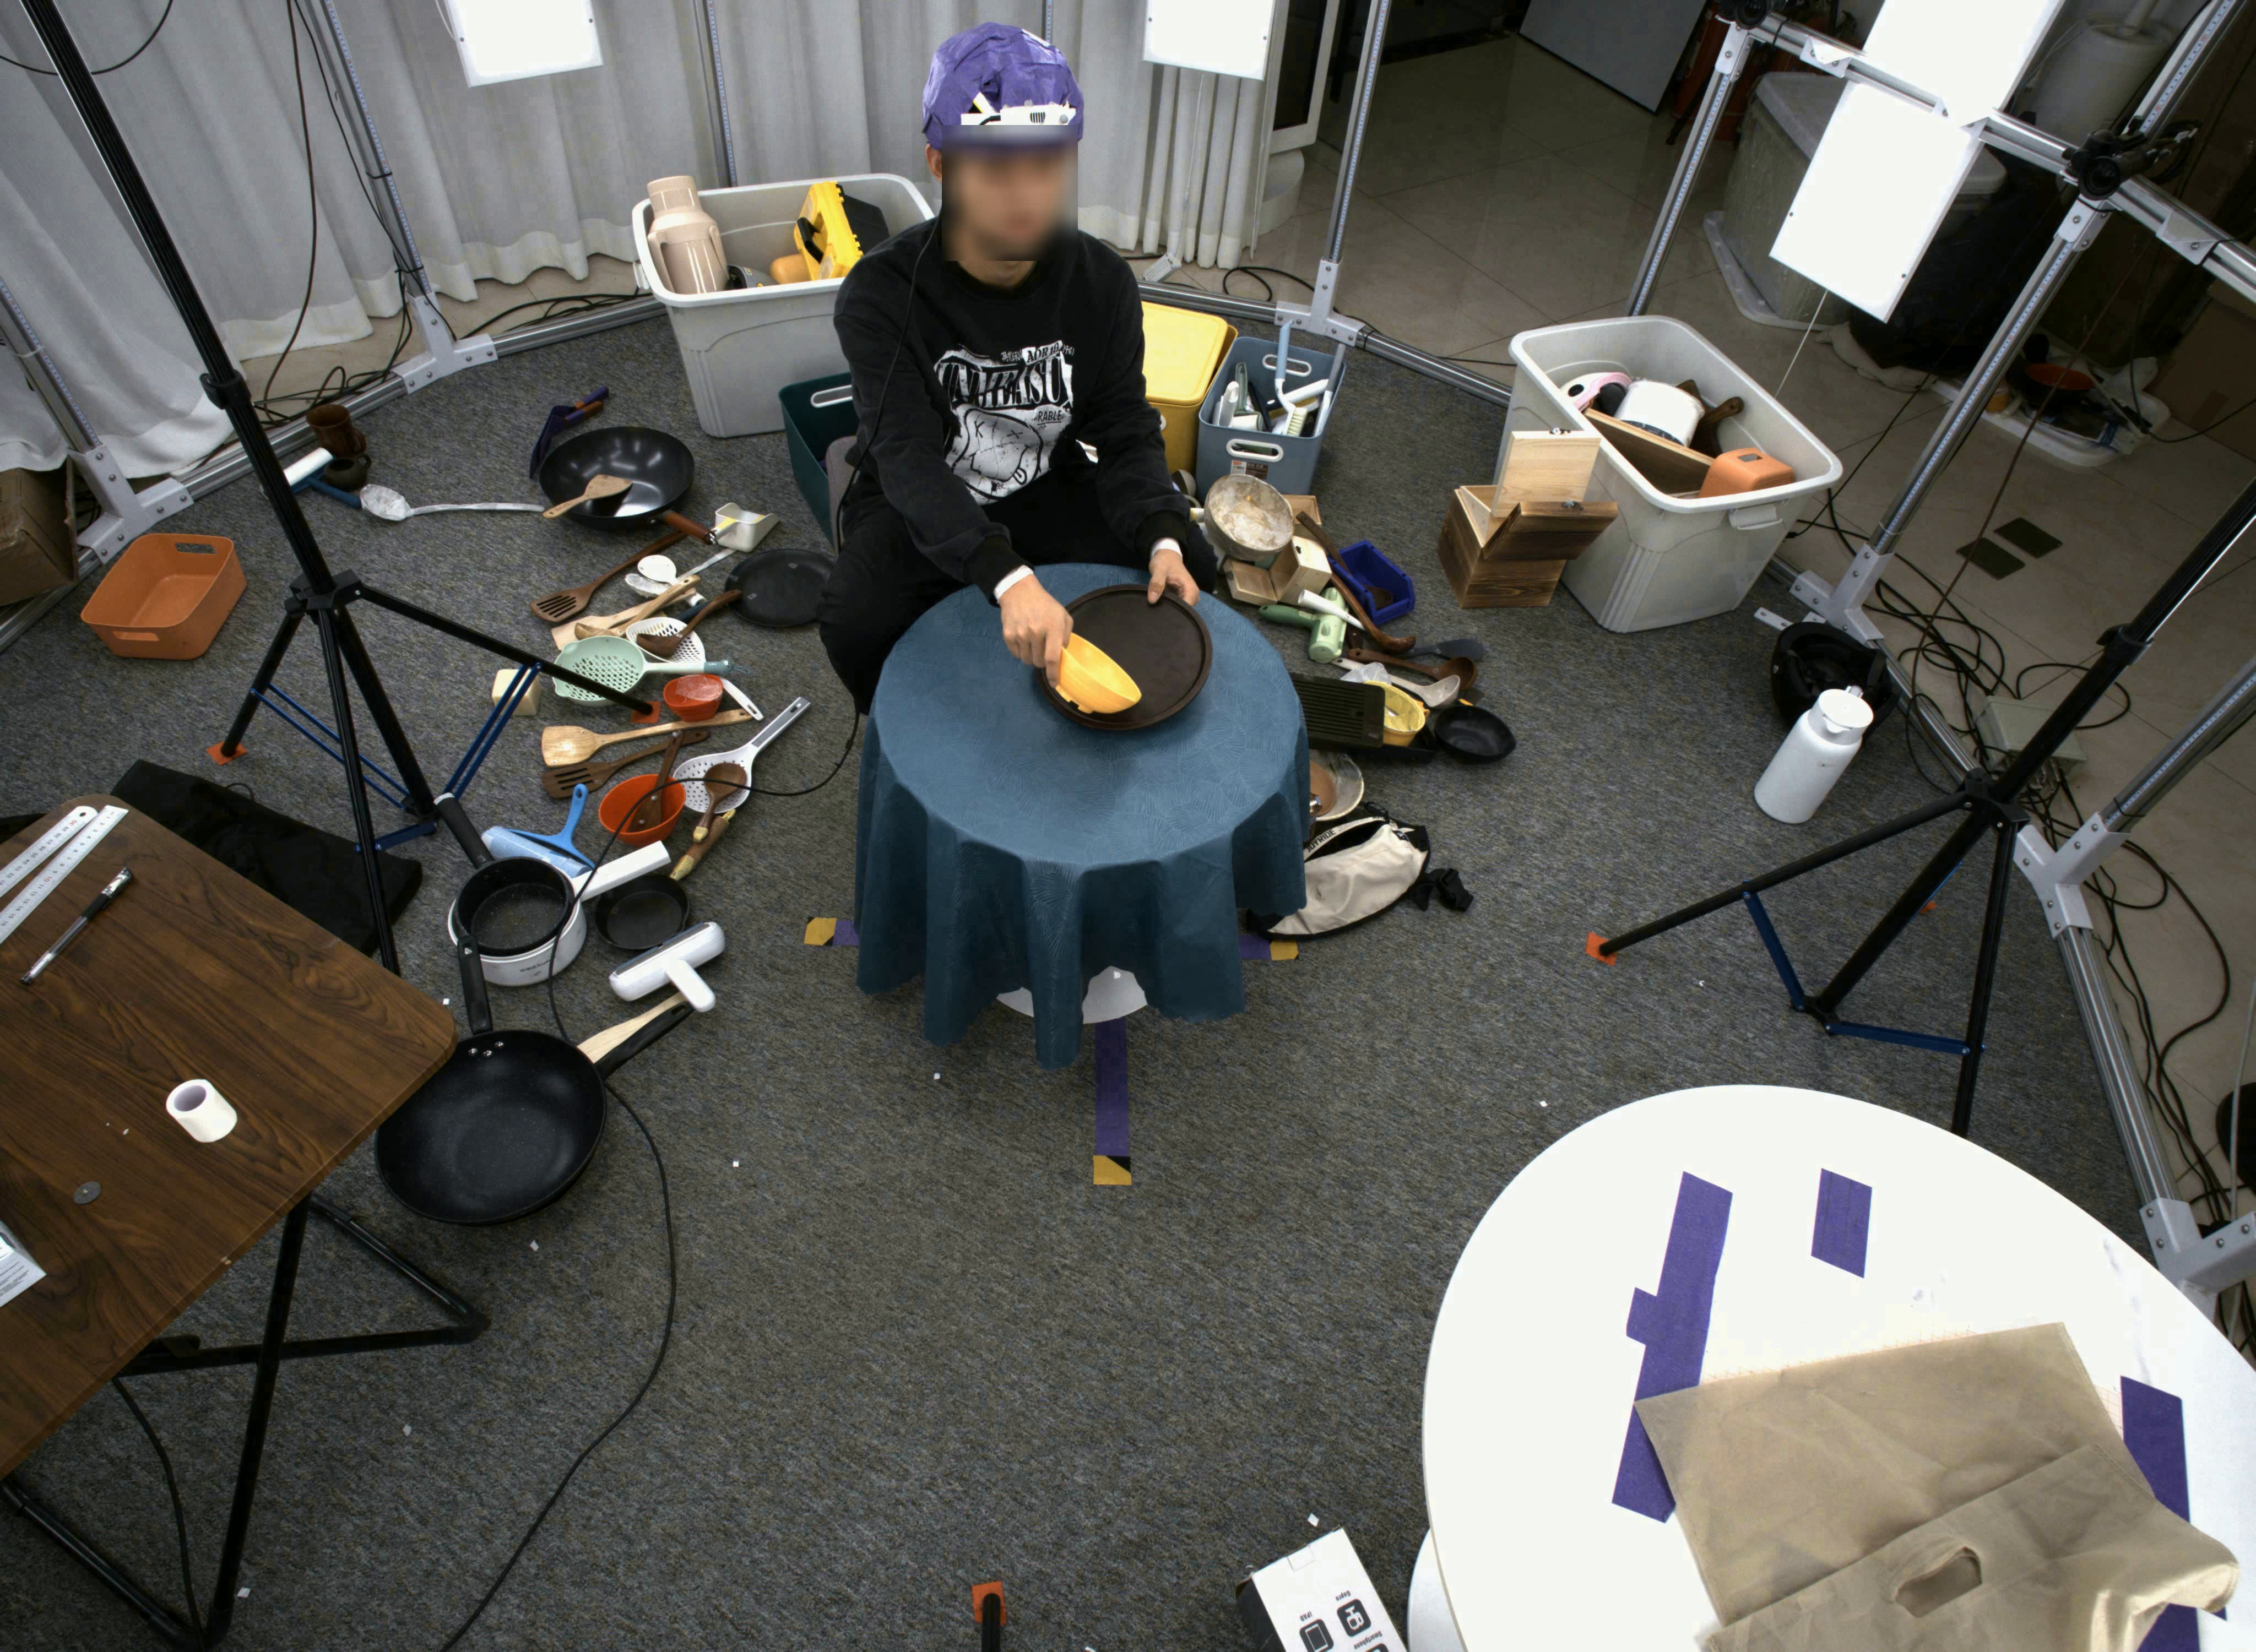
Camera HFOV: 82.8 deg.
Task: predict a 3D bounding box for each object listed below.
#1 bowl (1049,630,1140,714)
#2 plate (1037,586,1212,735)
[{"bbox_3d":[-0.056,-0.195,1.726,0.144,0.059,0.148,36,19,-14],"label":"bowl"},{"bbox_3d":[-0.005,-0.238,1.842,0.255,0.028,0.260,-4,60,7],"label":"plate"}]
